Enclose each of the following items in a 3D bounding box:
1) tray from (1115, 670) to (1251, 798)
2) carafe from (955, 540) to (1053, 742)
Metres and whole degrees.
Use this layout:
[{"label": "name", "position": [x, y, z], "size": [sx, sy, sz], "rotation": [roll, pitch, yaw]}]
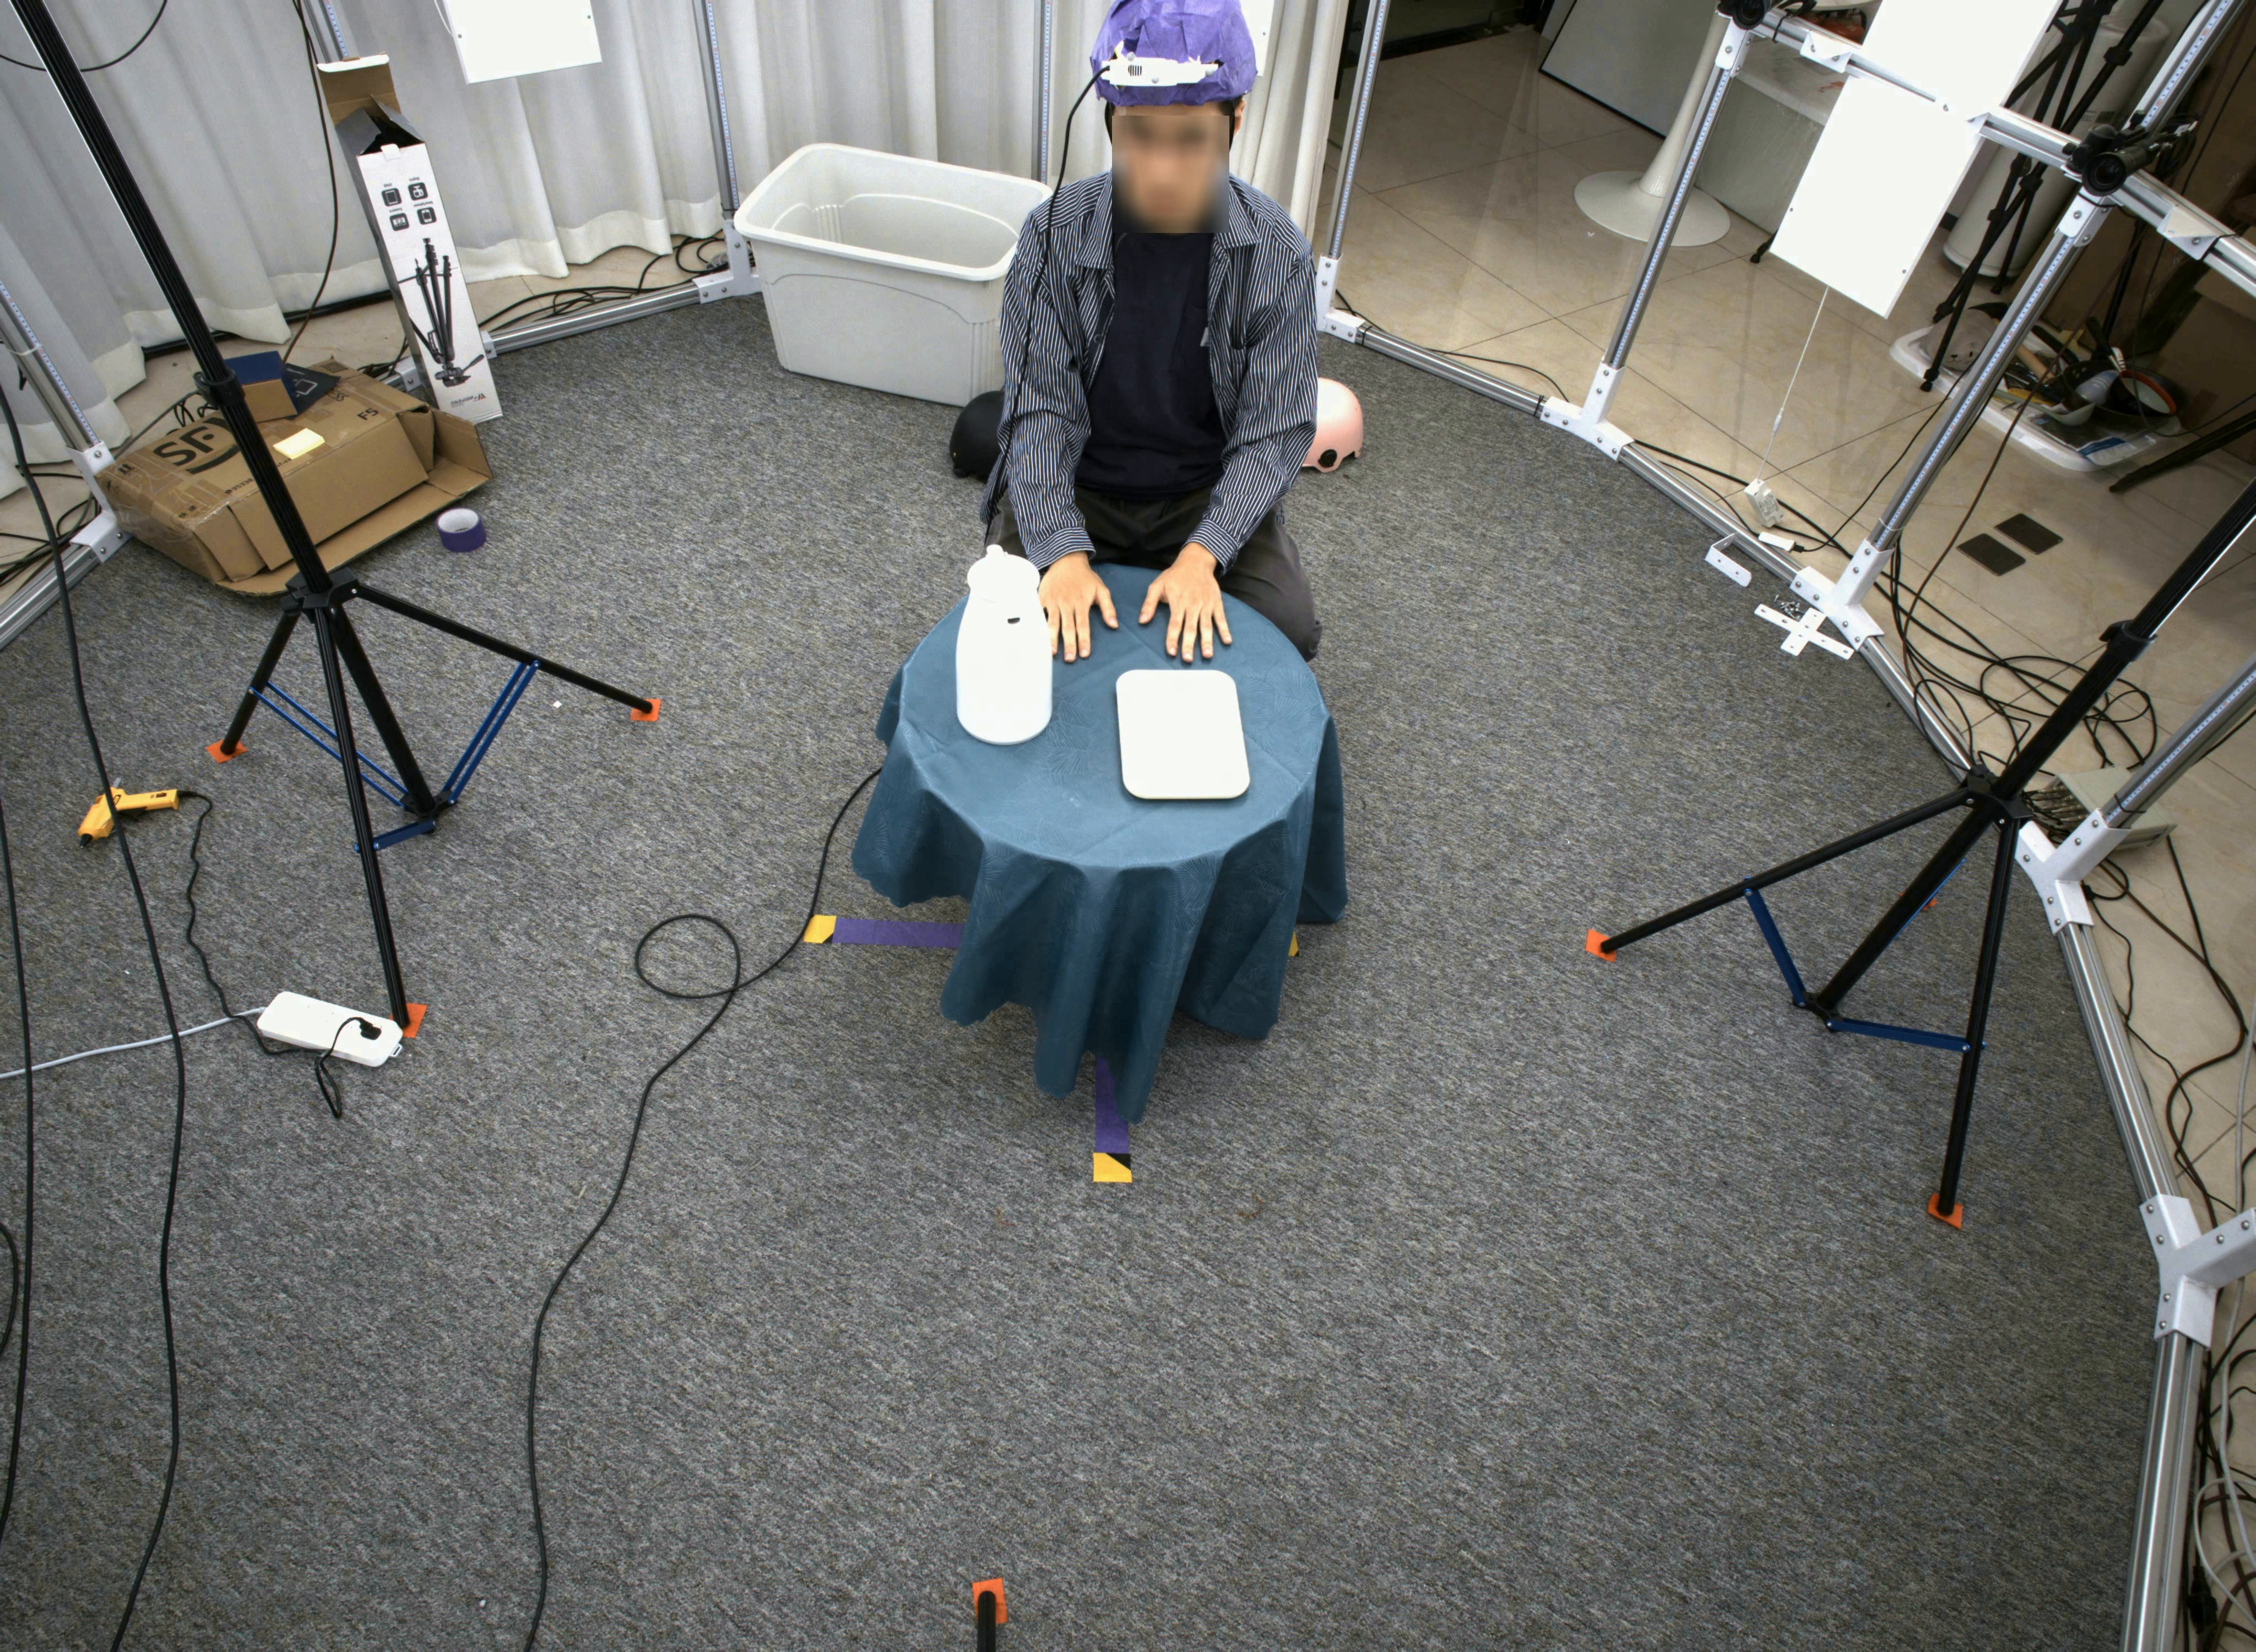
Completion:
[{"label": "tray", "position": [0.072, -0.127, 1.764], "size": [0.171, 0.017, 0.246], "rotation": [0, 48, -6]}, {"label": "carafe", "position": [-0.170, -0.256, 1.704], "size": [0.132, 0.242, 0.172], "rotation": [-14, 50, -16]}]
